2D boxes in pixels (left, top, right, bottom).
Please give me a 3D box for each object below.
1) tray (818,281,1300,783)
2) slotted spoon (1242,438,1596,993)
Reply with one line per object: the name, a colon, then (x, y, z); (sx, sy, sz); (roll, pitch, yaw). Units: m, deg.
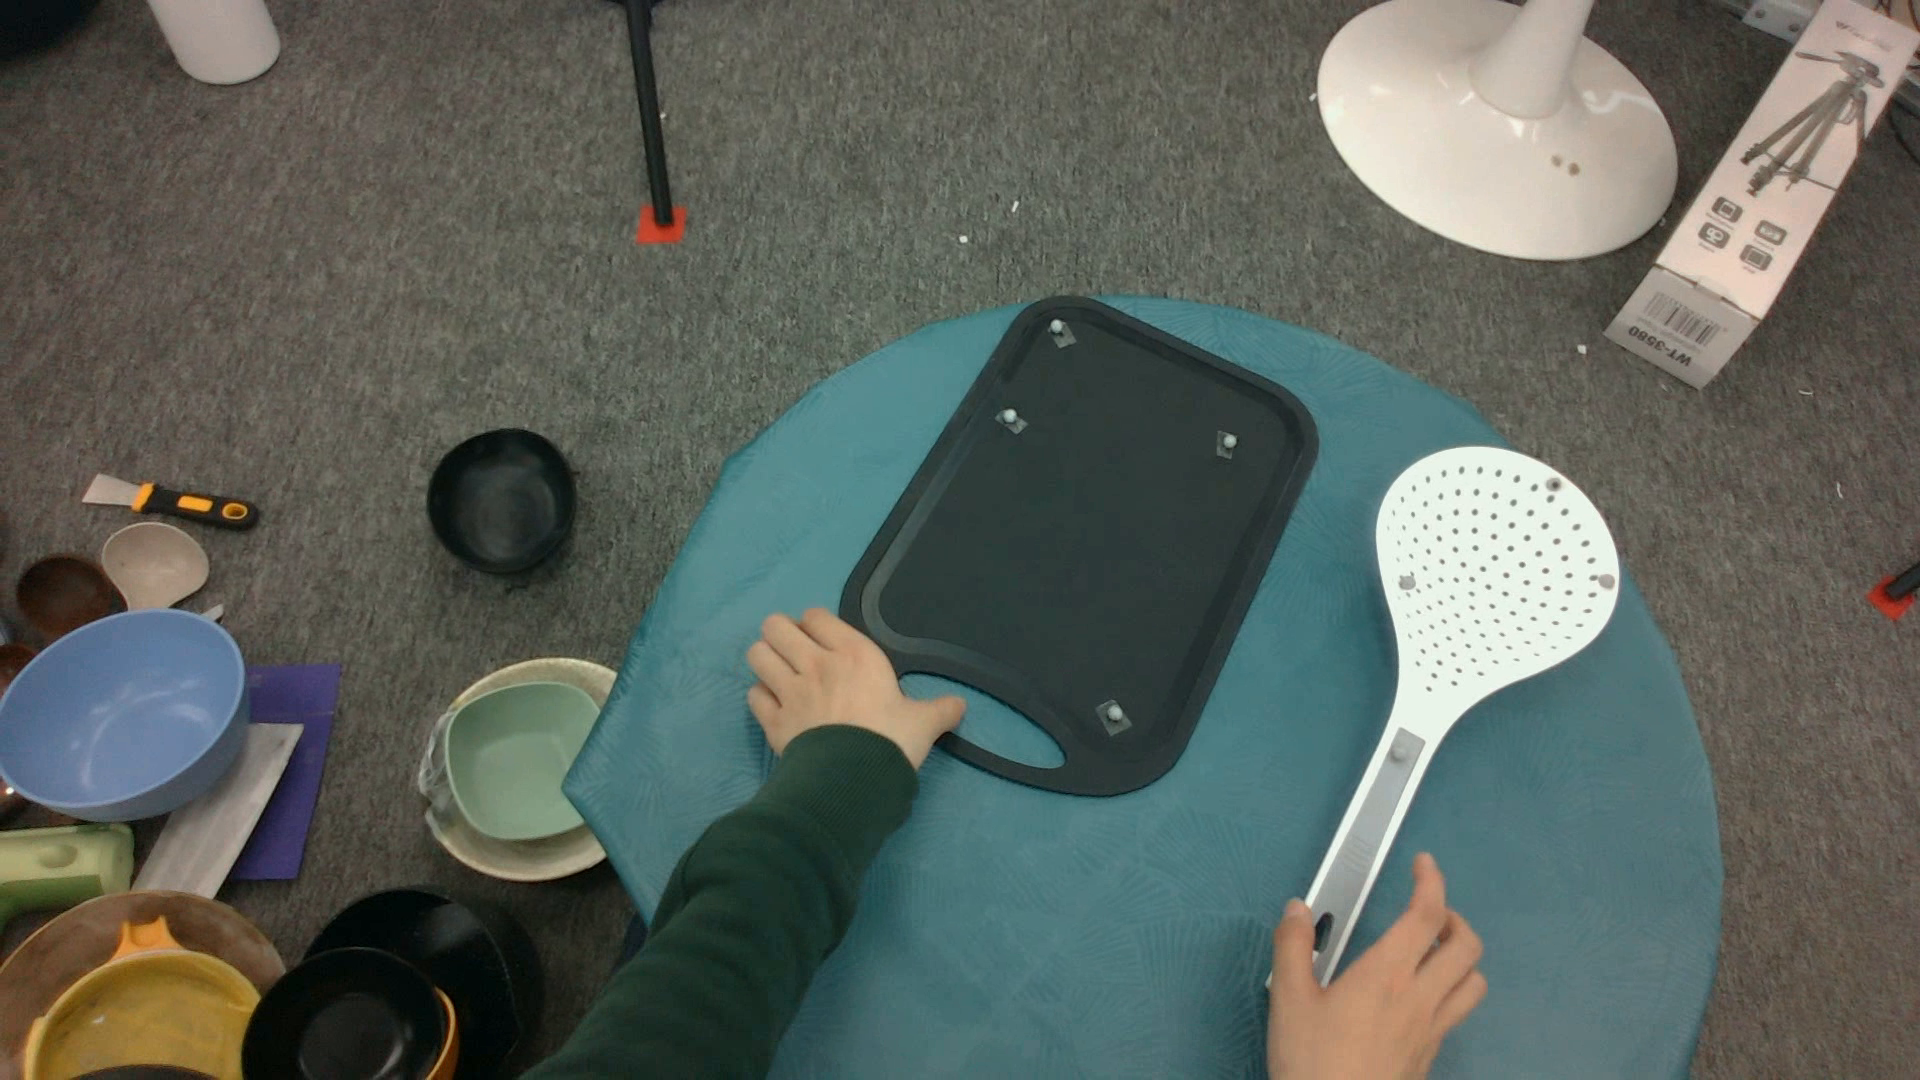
tray: (0.063, -0.015, 0.806); (0.211, 0.010, 0.327); (27, 61, 8)
slotted spoon: (0.241, 0.086, 0.752); (0.136, 0.045, 0.351); (29, 61, 11)
